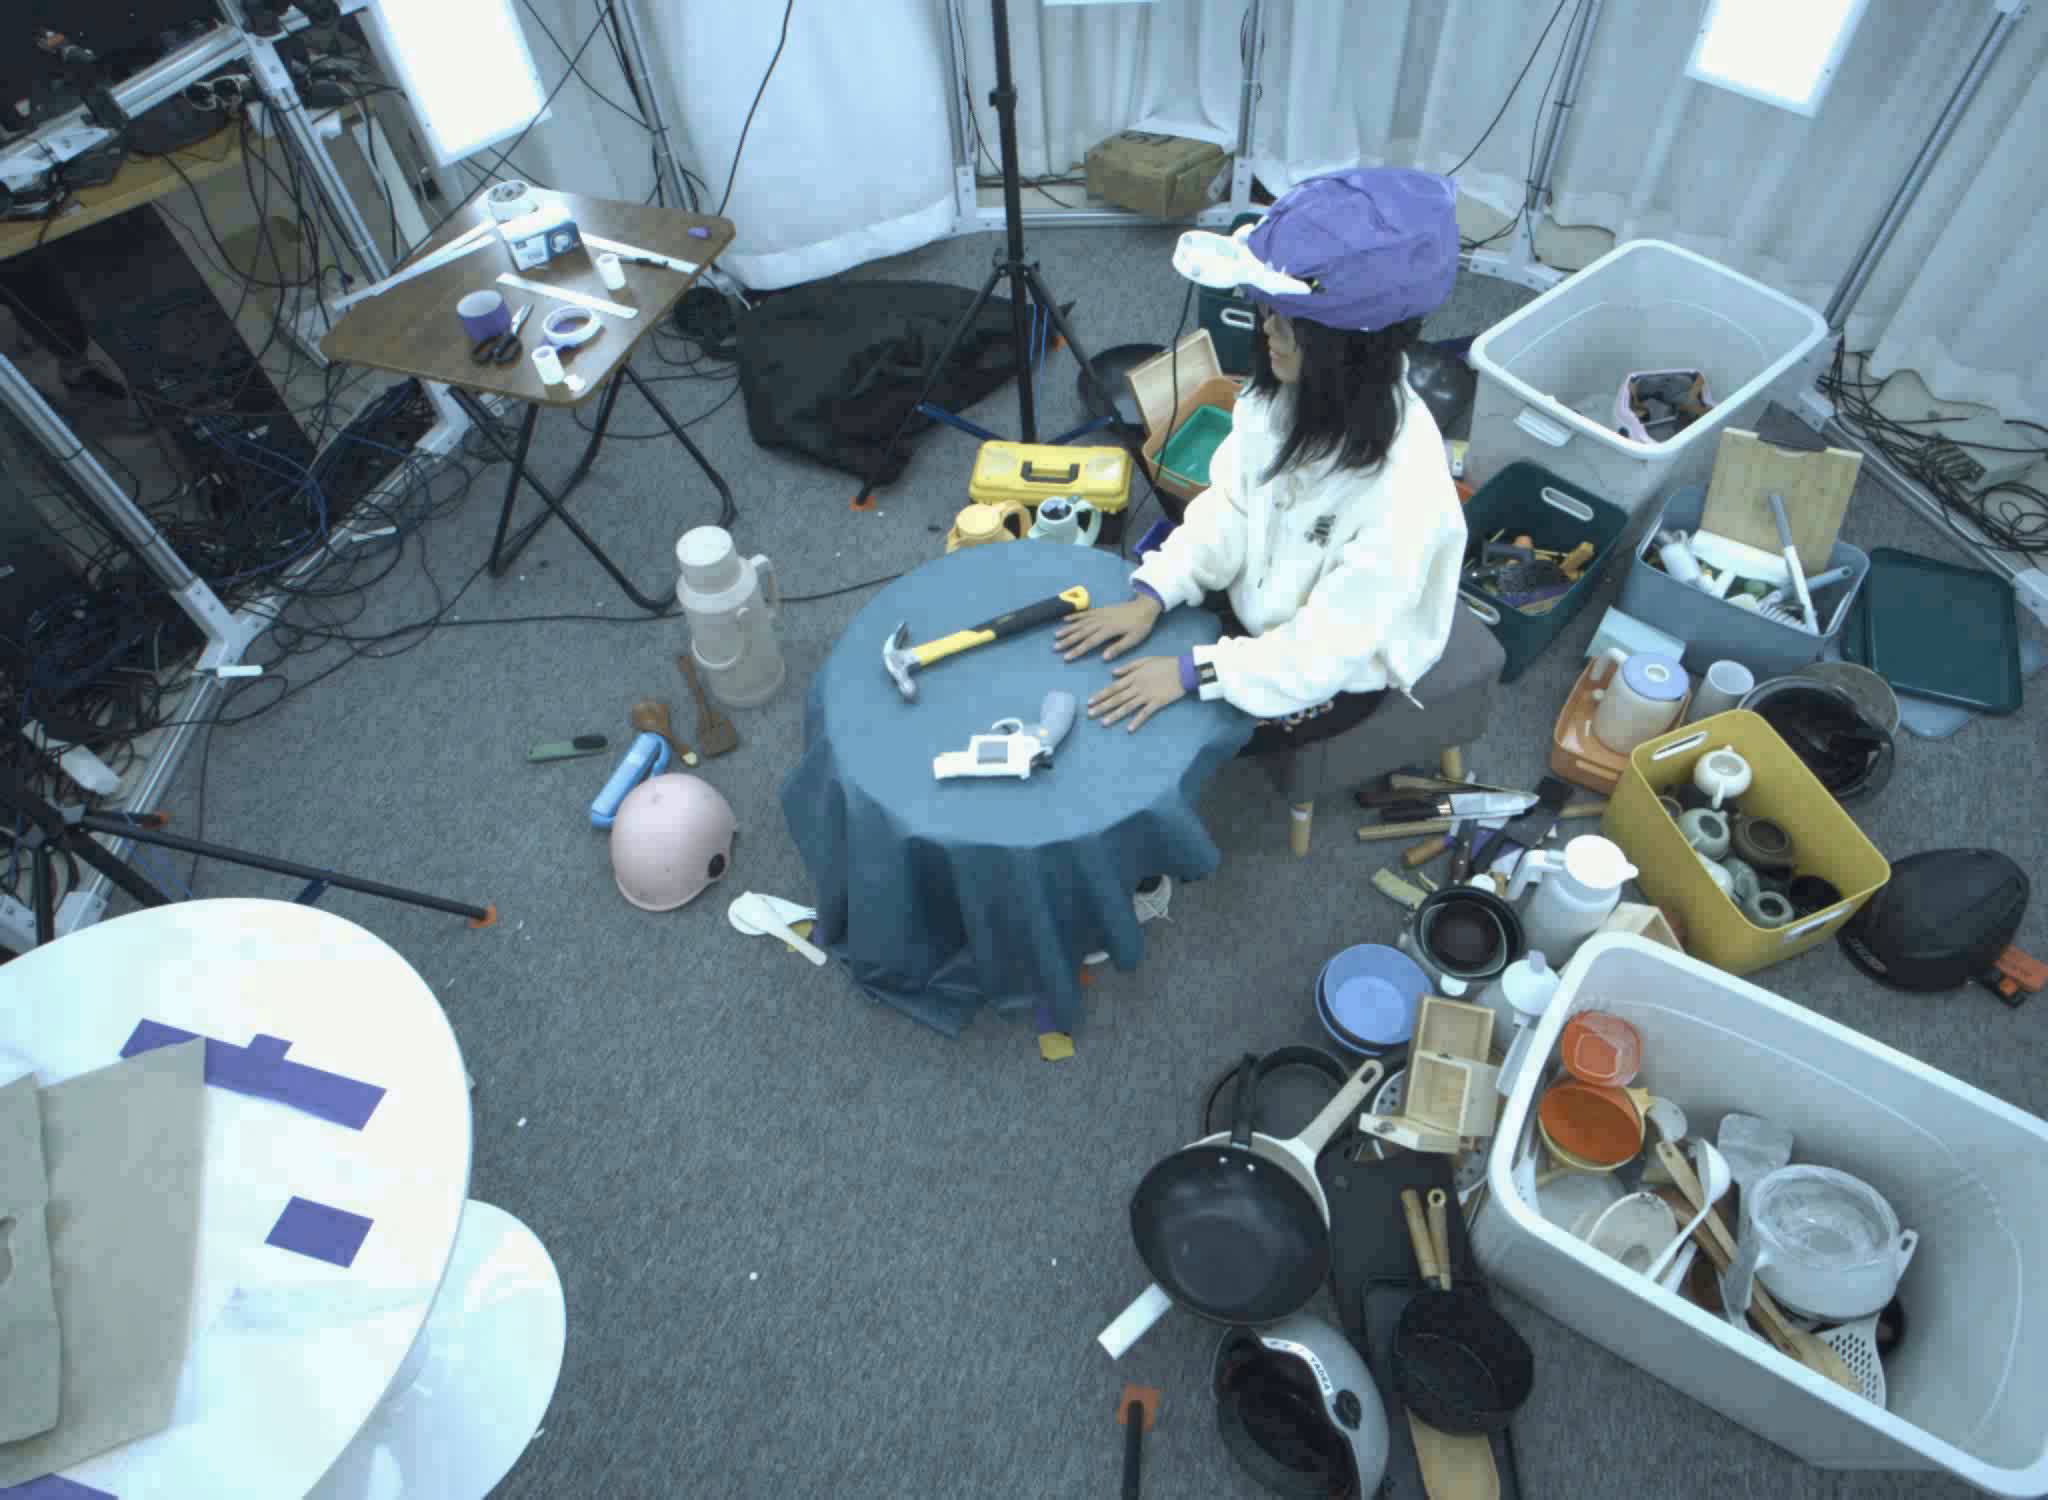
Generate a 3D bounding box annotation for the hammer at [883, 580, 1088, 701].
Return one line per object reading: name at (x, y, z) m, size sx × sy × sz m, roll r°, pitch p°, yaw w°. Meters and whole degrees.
hammer at (-0.057, -0.188, 1.898) m, size 0.340 × 0.032 × 0.129 m, roll -23°, pitch 55°, yaw -11°

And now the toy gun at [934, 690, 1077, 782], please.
toy gun at (-0.025, -0.019, 1.778) m, size 0.209 × 0.039 × 0.140 m, roll -3°, pitch 55°, yaw 0°
